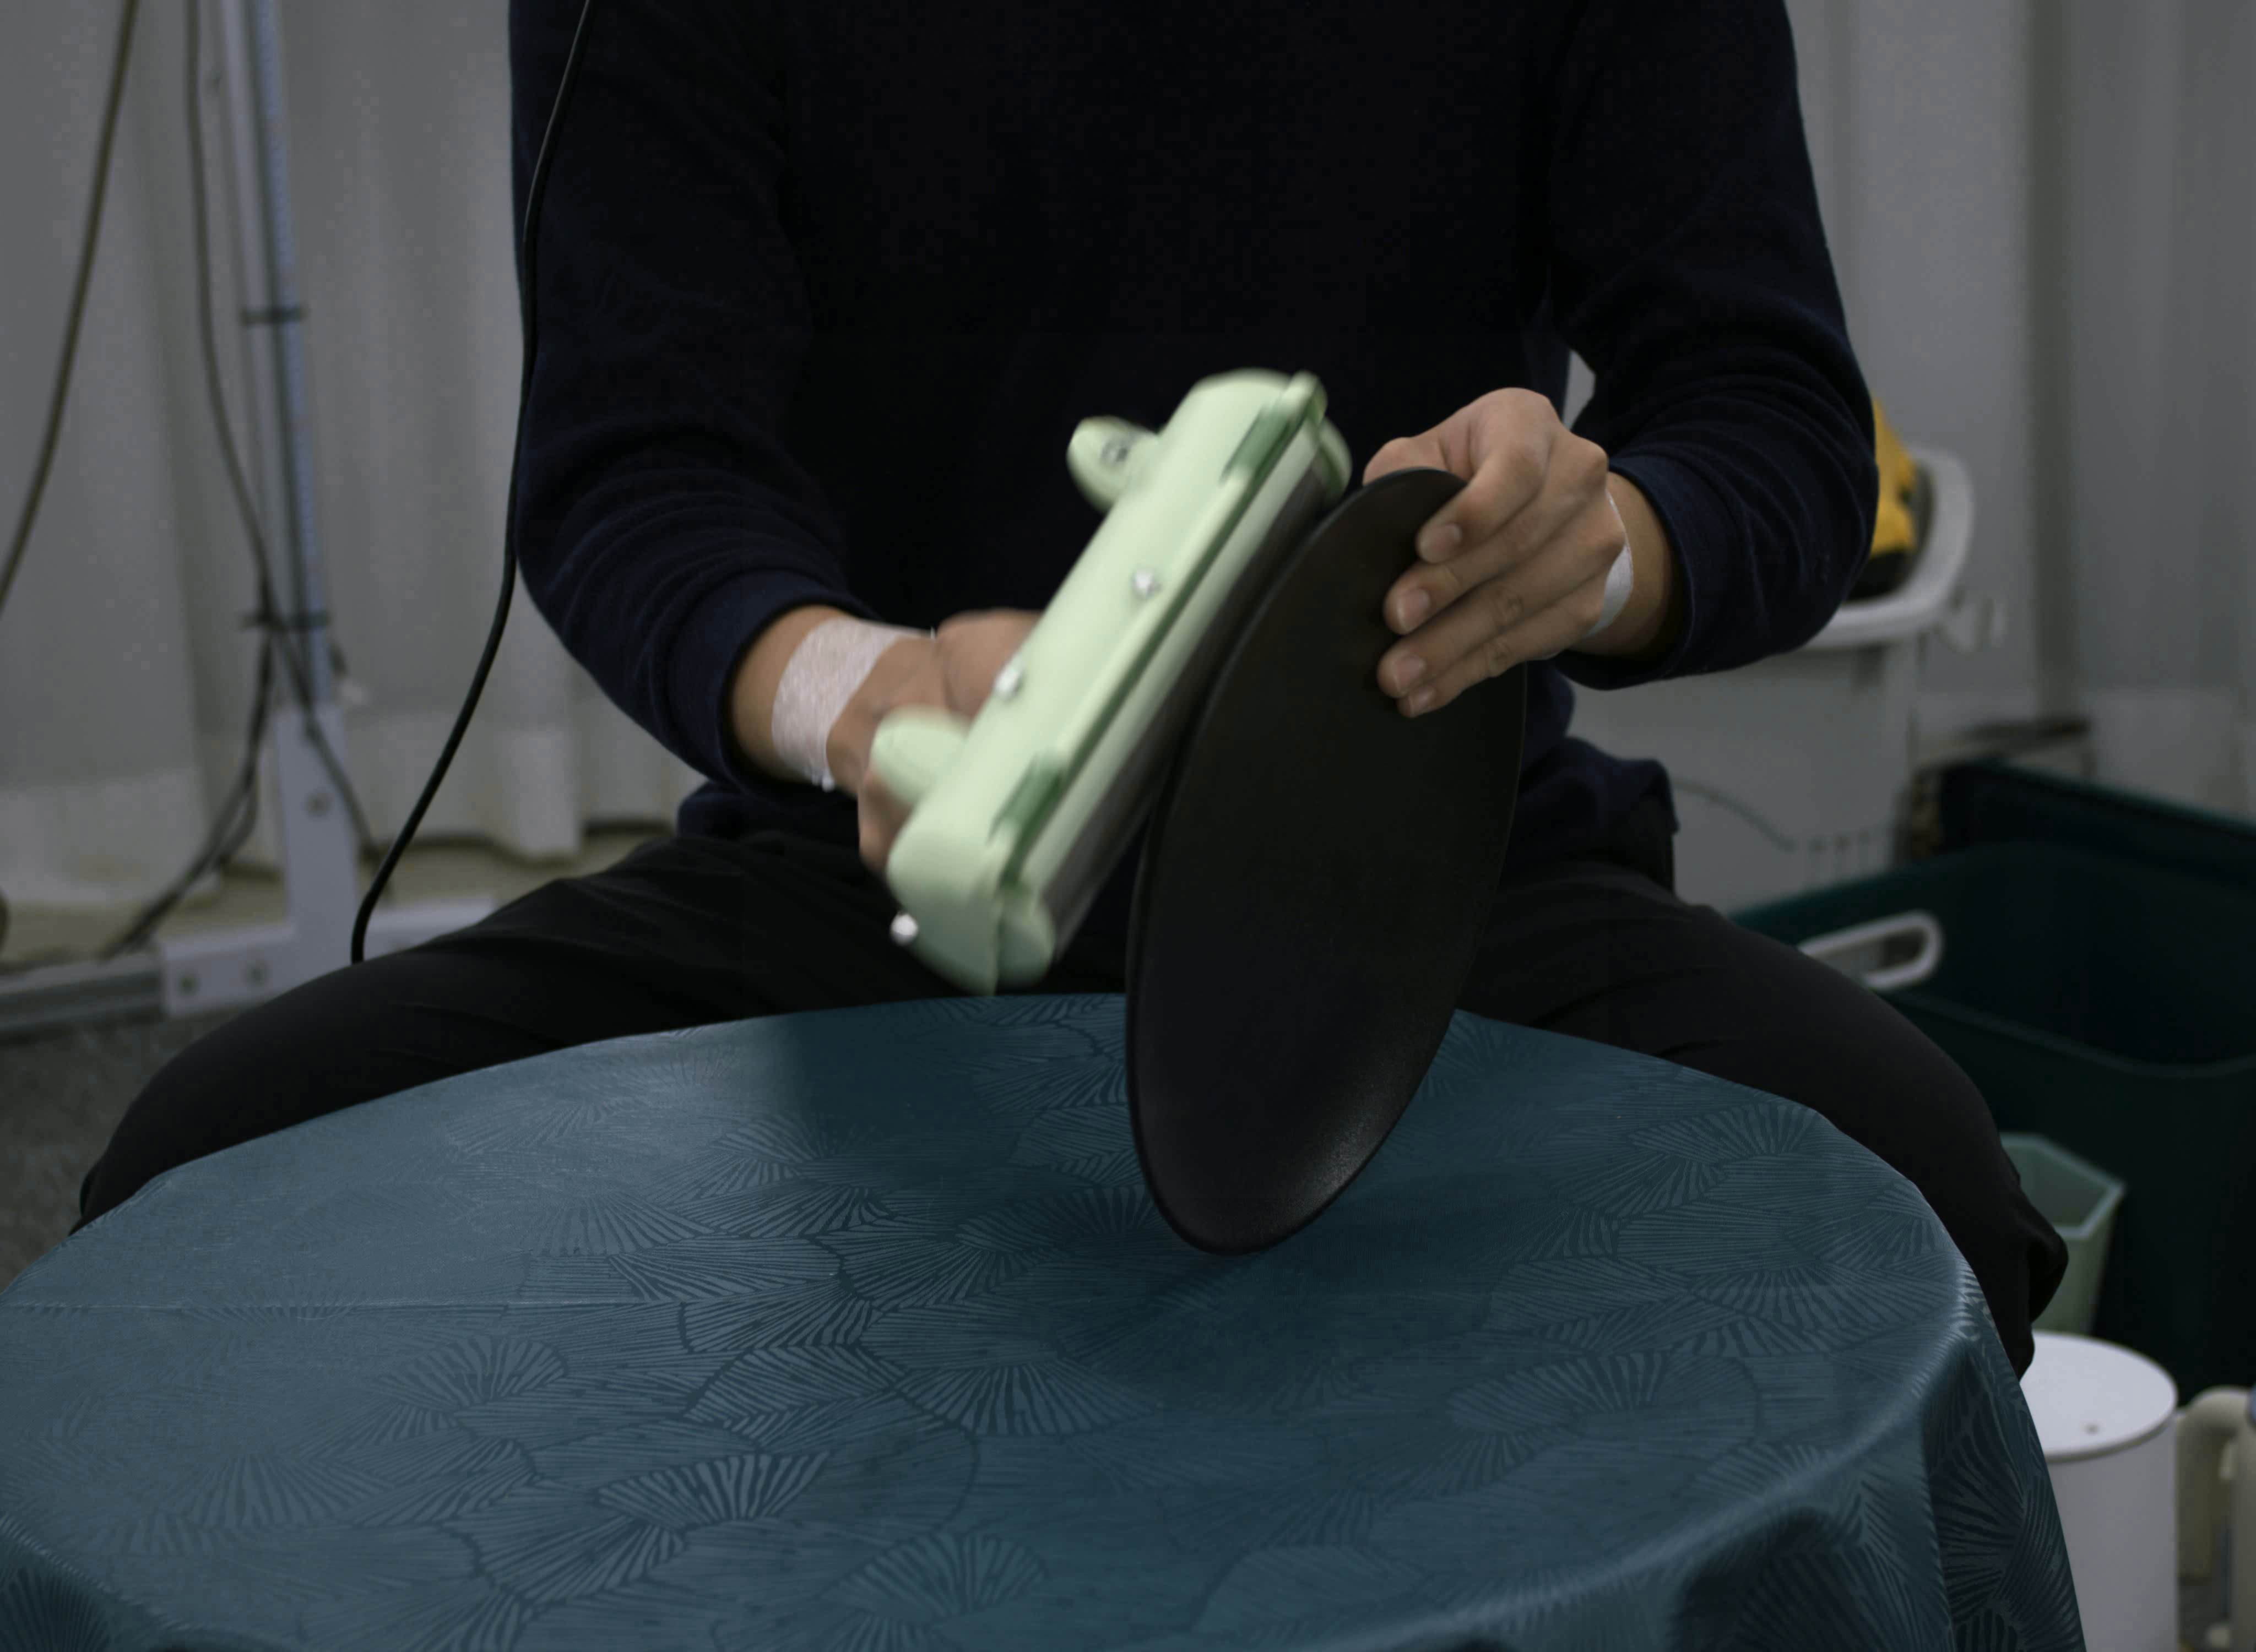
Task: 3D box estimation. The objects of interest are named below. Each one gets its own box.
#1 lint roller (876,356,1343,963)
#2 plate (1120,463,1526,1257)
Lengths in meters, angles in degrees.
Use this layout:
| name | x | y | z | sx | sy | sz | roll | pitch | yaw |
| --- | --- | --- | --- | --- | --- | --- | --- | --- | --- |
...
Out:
| name | x | y | z | sx | sy | sz | roll | pitch | yaw |
| --- | --- | --- | --- | --- | --- | --- | --- | --- | --- |
| lint roller | -0.035 | -0.043 | 1.601 | 0.183 | 0.081 | 0.200 | -24 | 29 | 55 |
| plate | 0.053 | 0.009 | 1.631 | 0.023 | 0.243 | 0.244 | 16 | 22 | 27 |
